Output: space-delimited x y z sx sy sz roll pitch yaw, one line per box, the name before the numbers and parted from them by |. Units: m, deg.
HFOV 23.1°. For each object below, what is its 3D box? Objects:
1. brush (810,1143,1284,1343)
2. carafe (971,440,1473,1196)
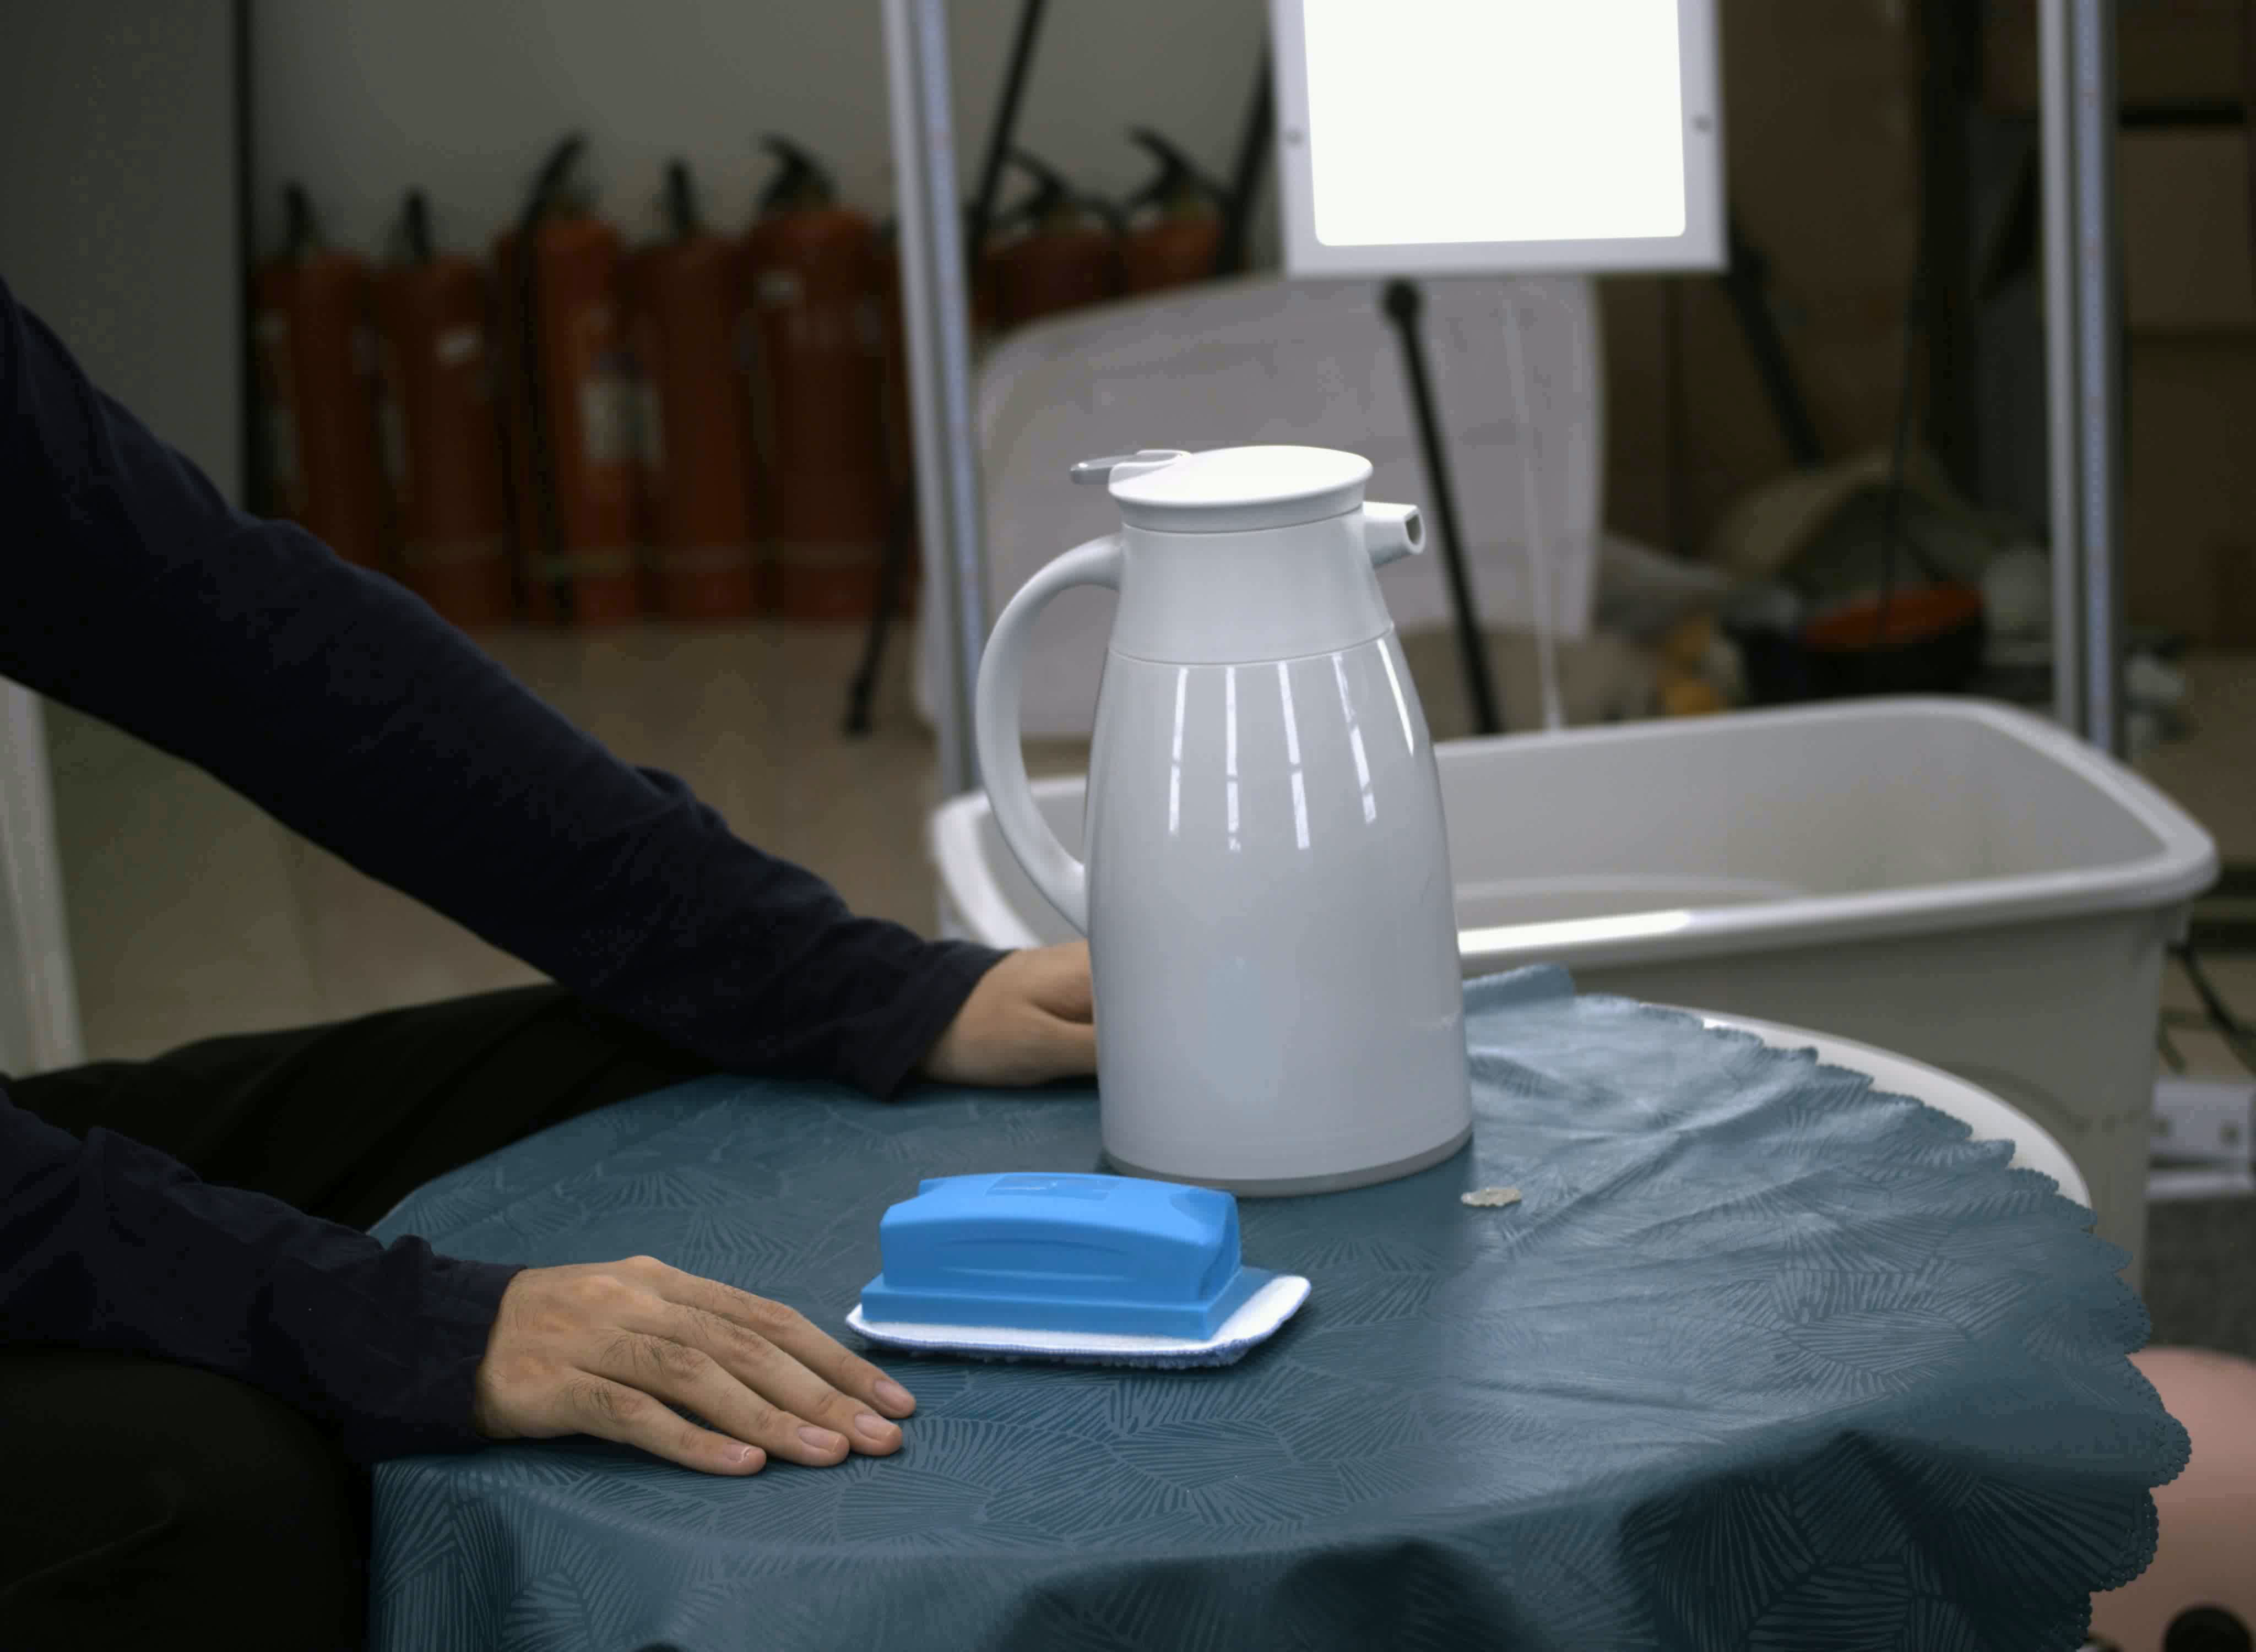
brush | -0.026 0.132 1.756 0.146 0.056 0.082 4 13 25
carafe | 0.028 -0.008 1.917 0.170 0.249 0.130 -1 14 20
